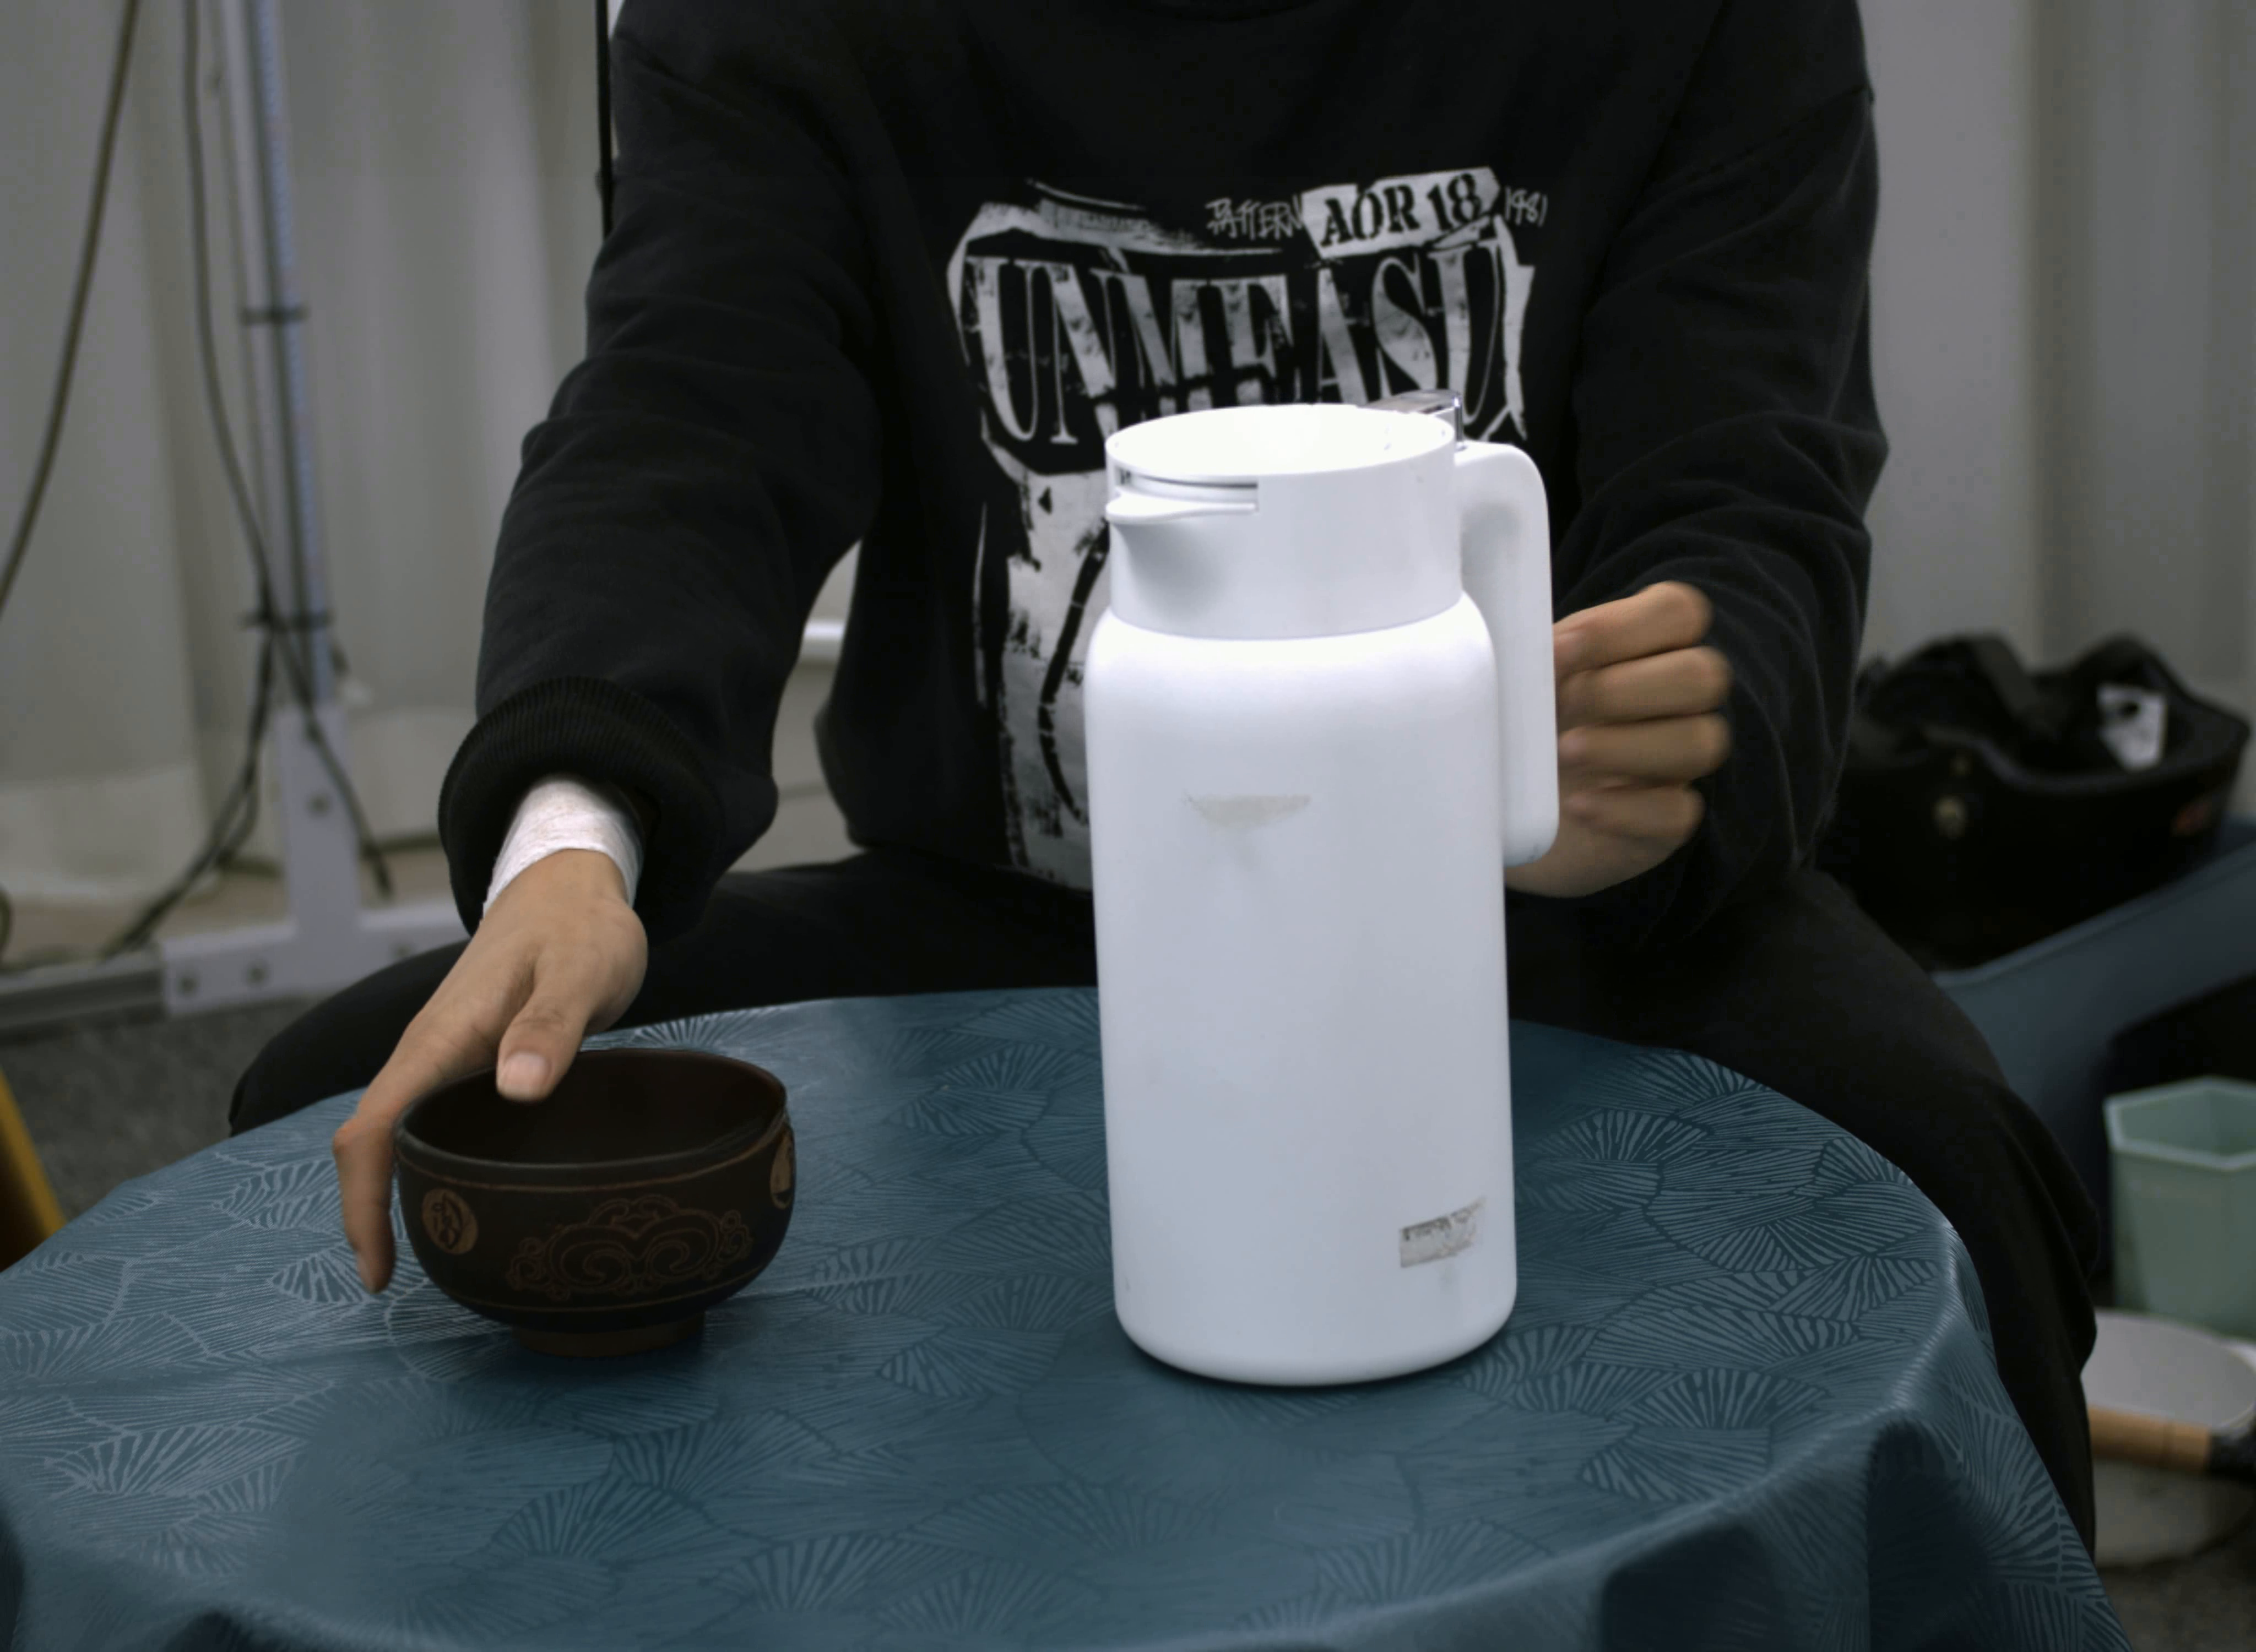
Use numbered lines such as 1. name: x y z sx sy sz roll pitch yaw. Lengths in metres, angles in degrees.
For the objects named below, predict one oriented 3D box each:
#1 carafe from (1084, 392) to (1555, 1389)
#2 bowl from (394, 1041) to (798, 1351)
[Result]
1. carafe: 0.059 0.014 1.568 0.124 0.268 0.172 6 17 40
2. bowl: -0.155 0.113 1.609 0.117 0.069 0.119 -3 14 0
